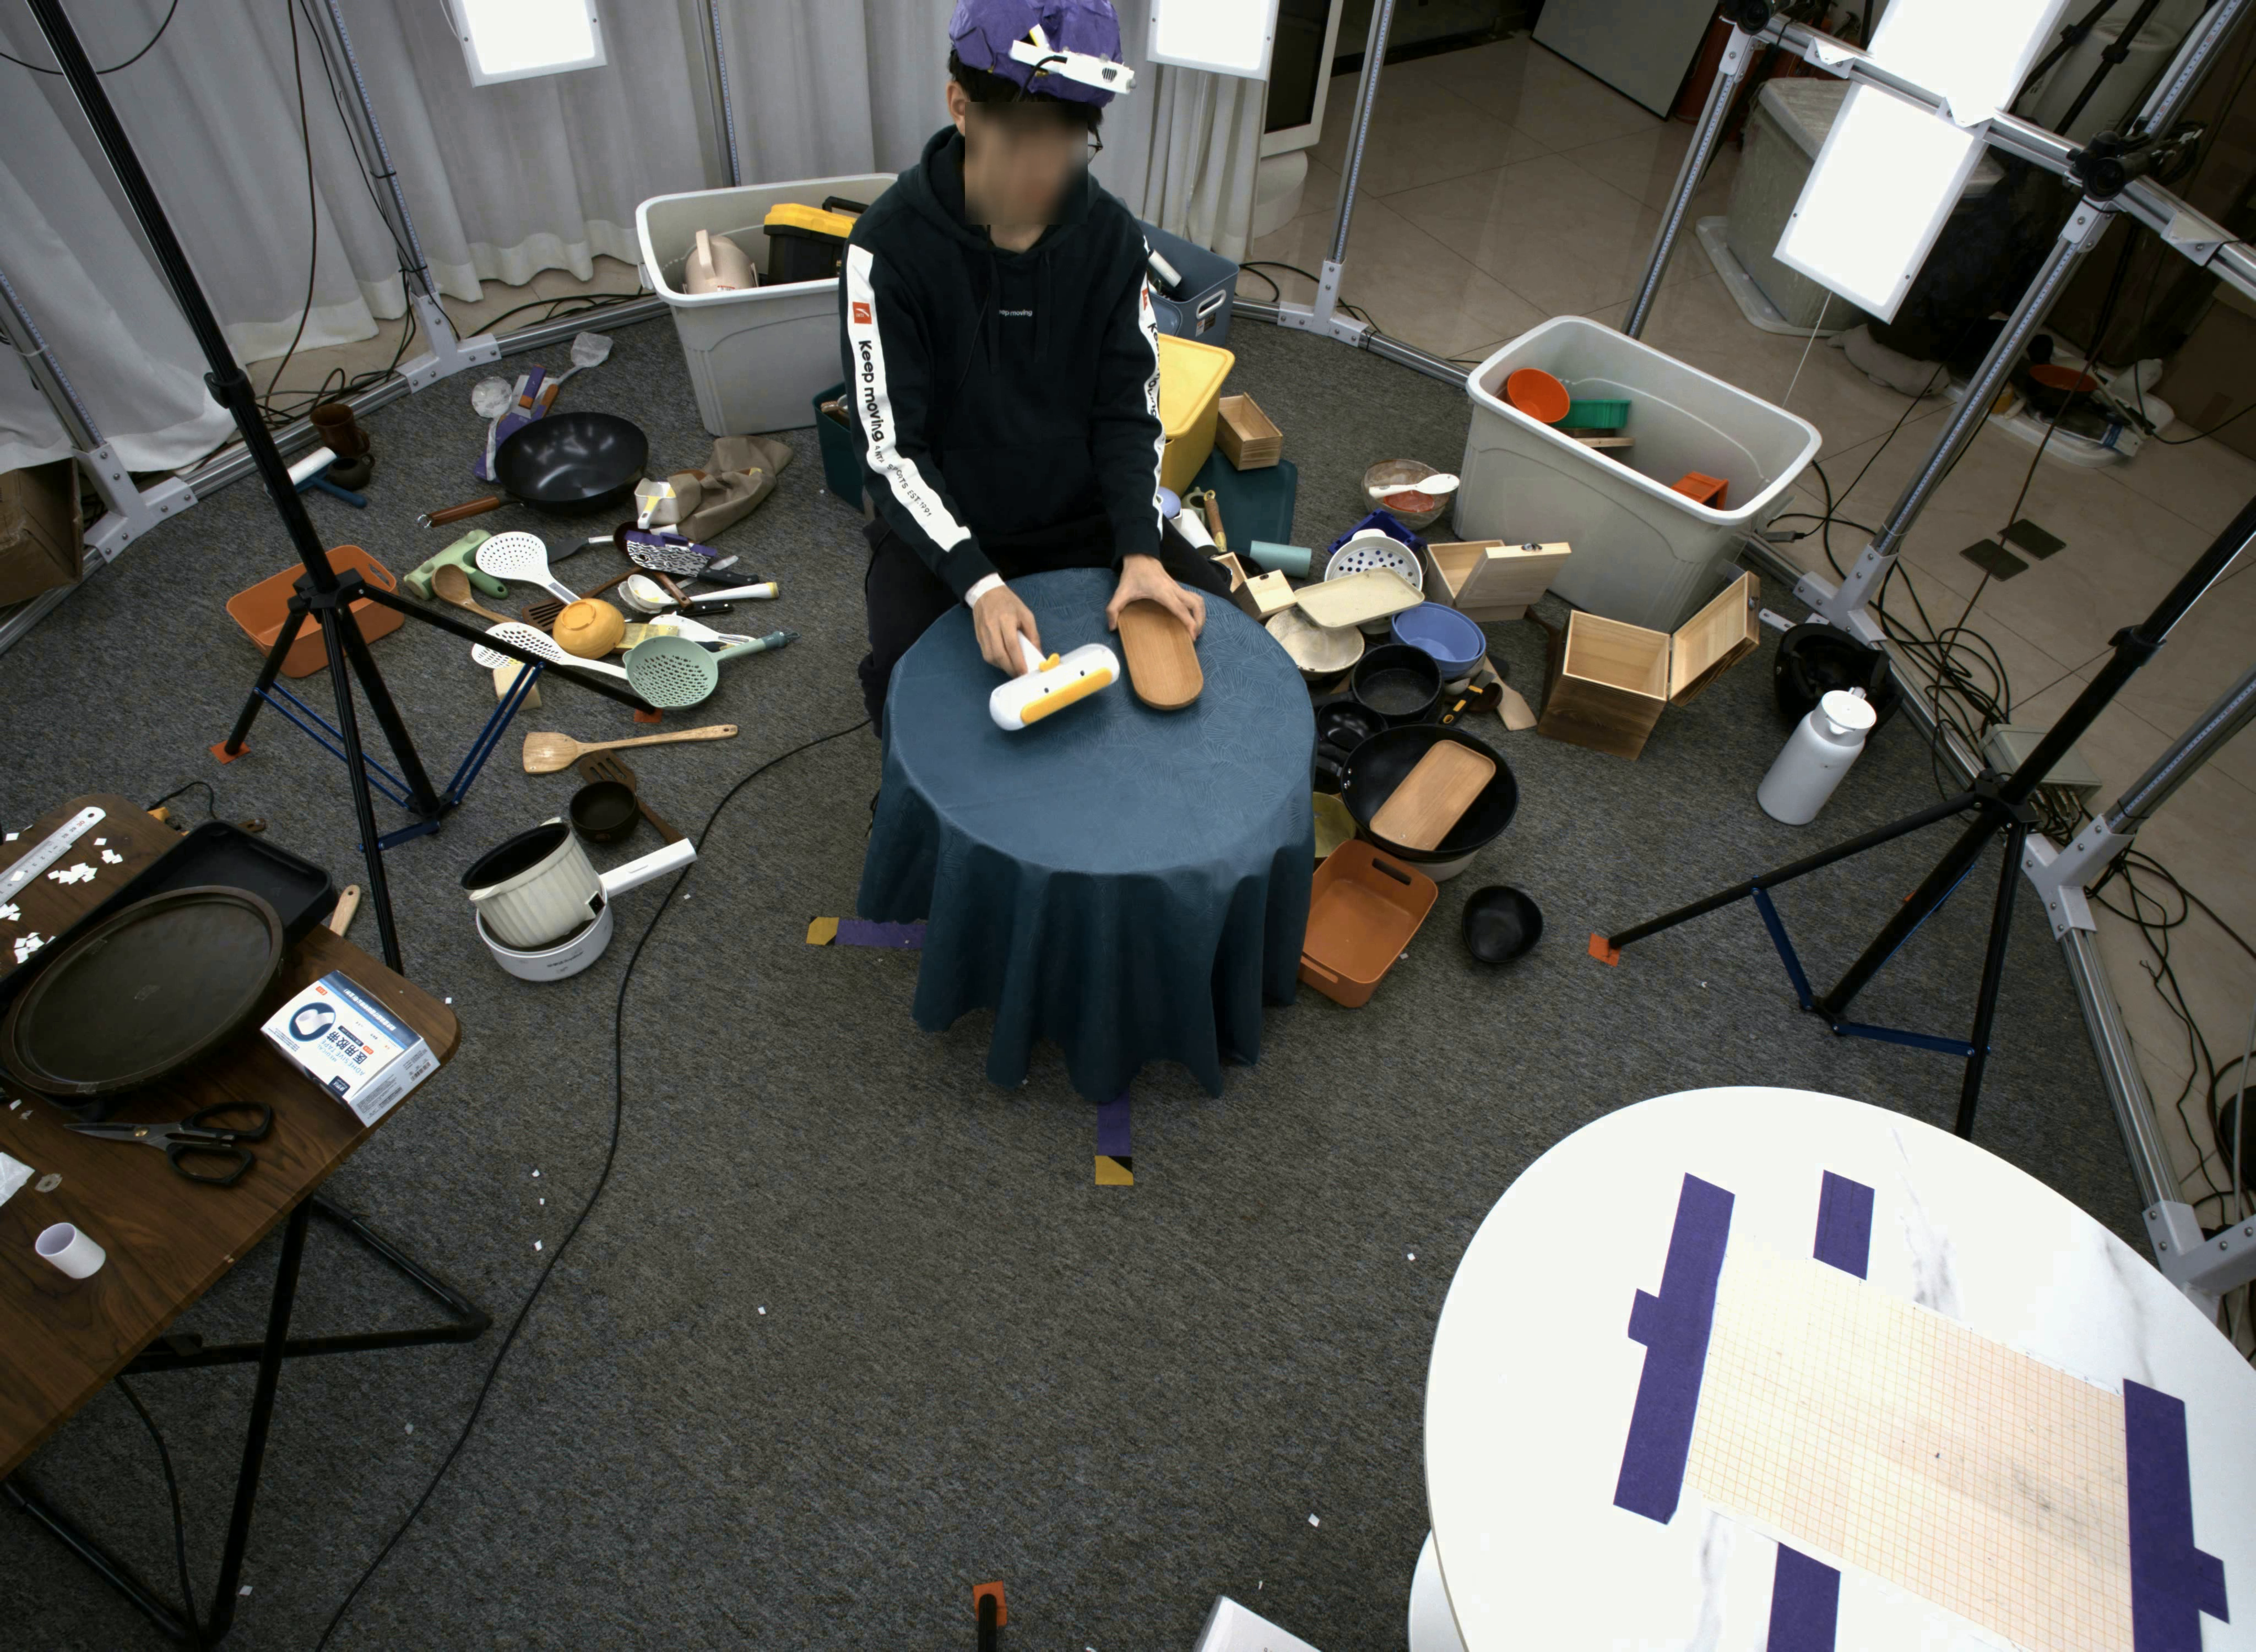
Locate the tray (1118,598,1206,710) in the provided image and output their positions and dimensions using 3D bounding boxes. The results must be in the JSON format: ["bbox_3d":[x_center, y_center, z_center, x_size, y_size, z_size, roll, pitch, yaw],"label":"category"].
[{"bbox_3d":[0.048,-0.252,1.864,0.101,0.020,0.237,-9,50,-6],"label":"tray"}]

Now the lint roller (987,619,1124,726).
[{"bbox_3d":[-0.130,-0.230,1.799,0.194,0.072,0.196,-35,44,-20],"label":"lint roller"}]
